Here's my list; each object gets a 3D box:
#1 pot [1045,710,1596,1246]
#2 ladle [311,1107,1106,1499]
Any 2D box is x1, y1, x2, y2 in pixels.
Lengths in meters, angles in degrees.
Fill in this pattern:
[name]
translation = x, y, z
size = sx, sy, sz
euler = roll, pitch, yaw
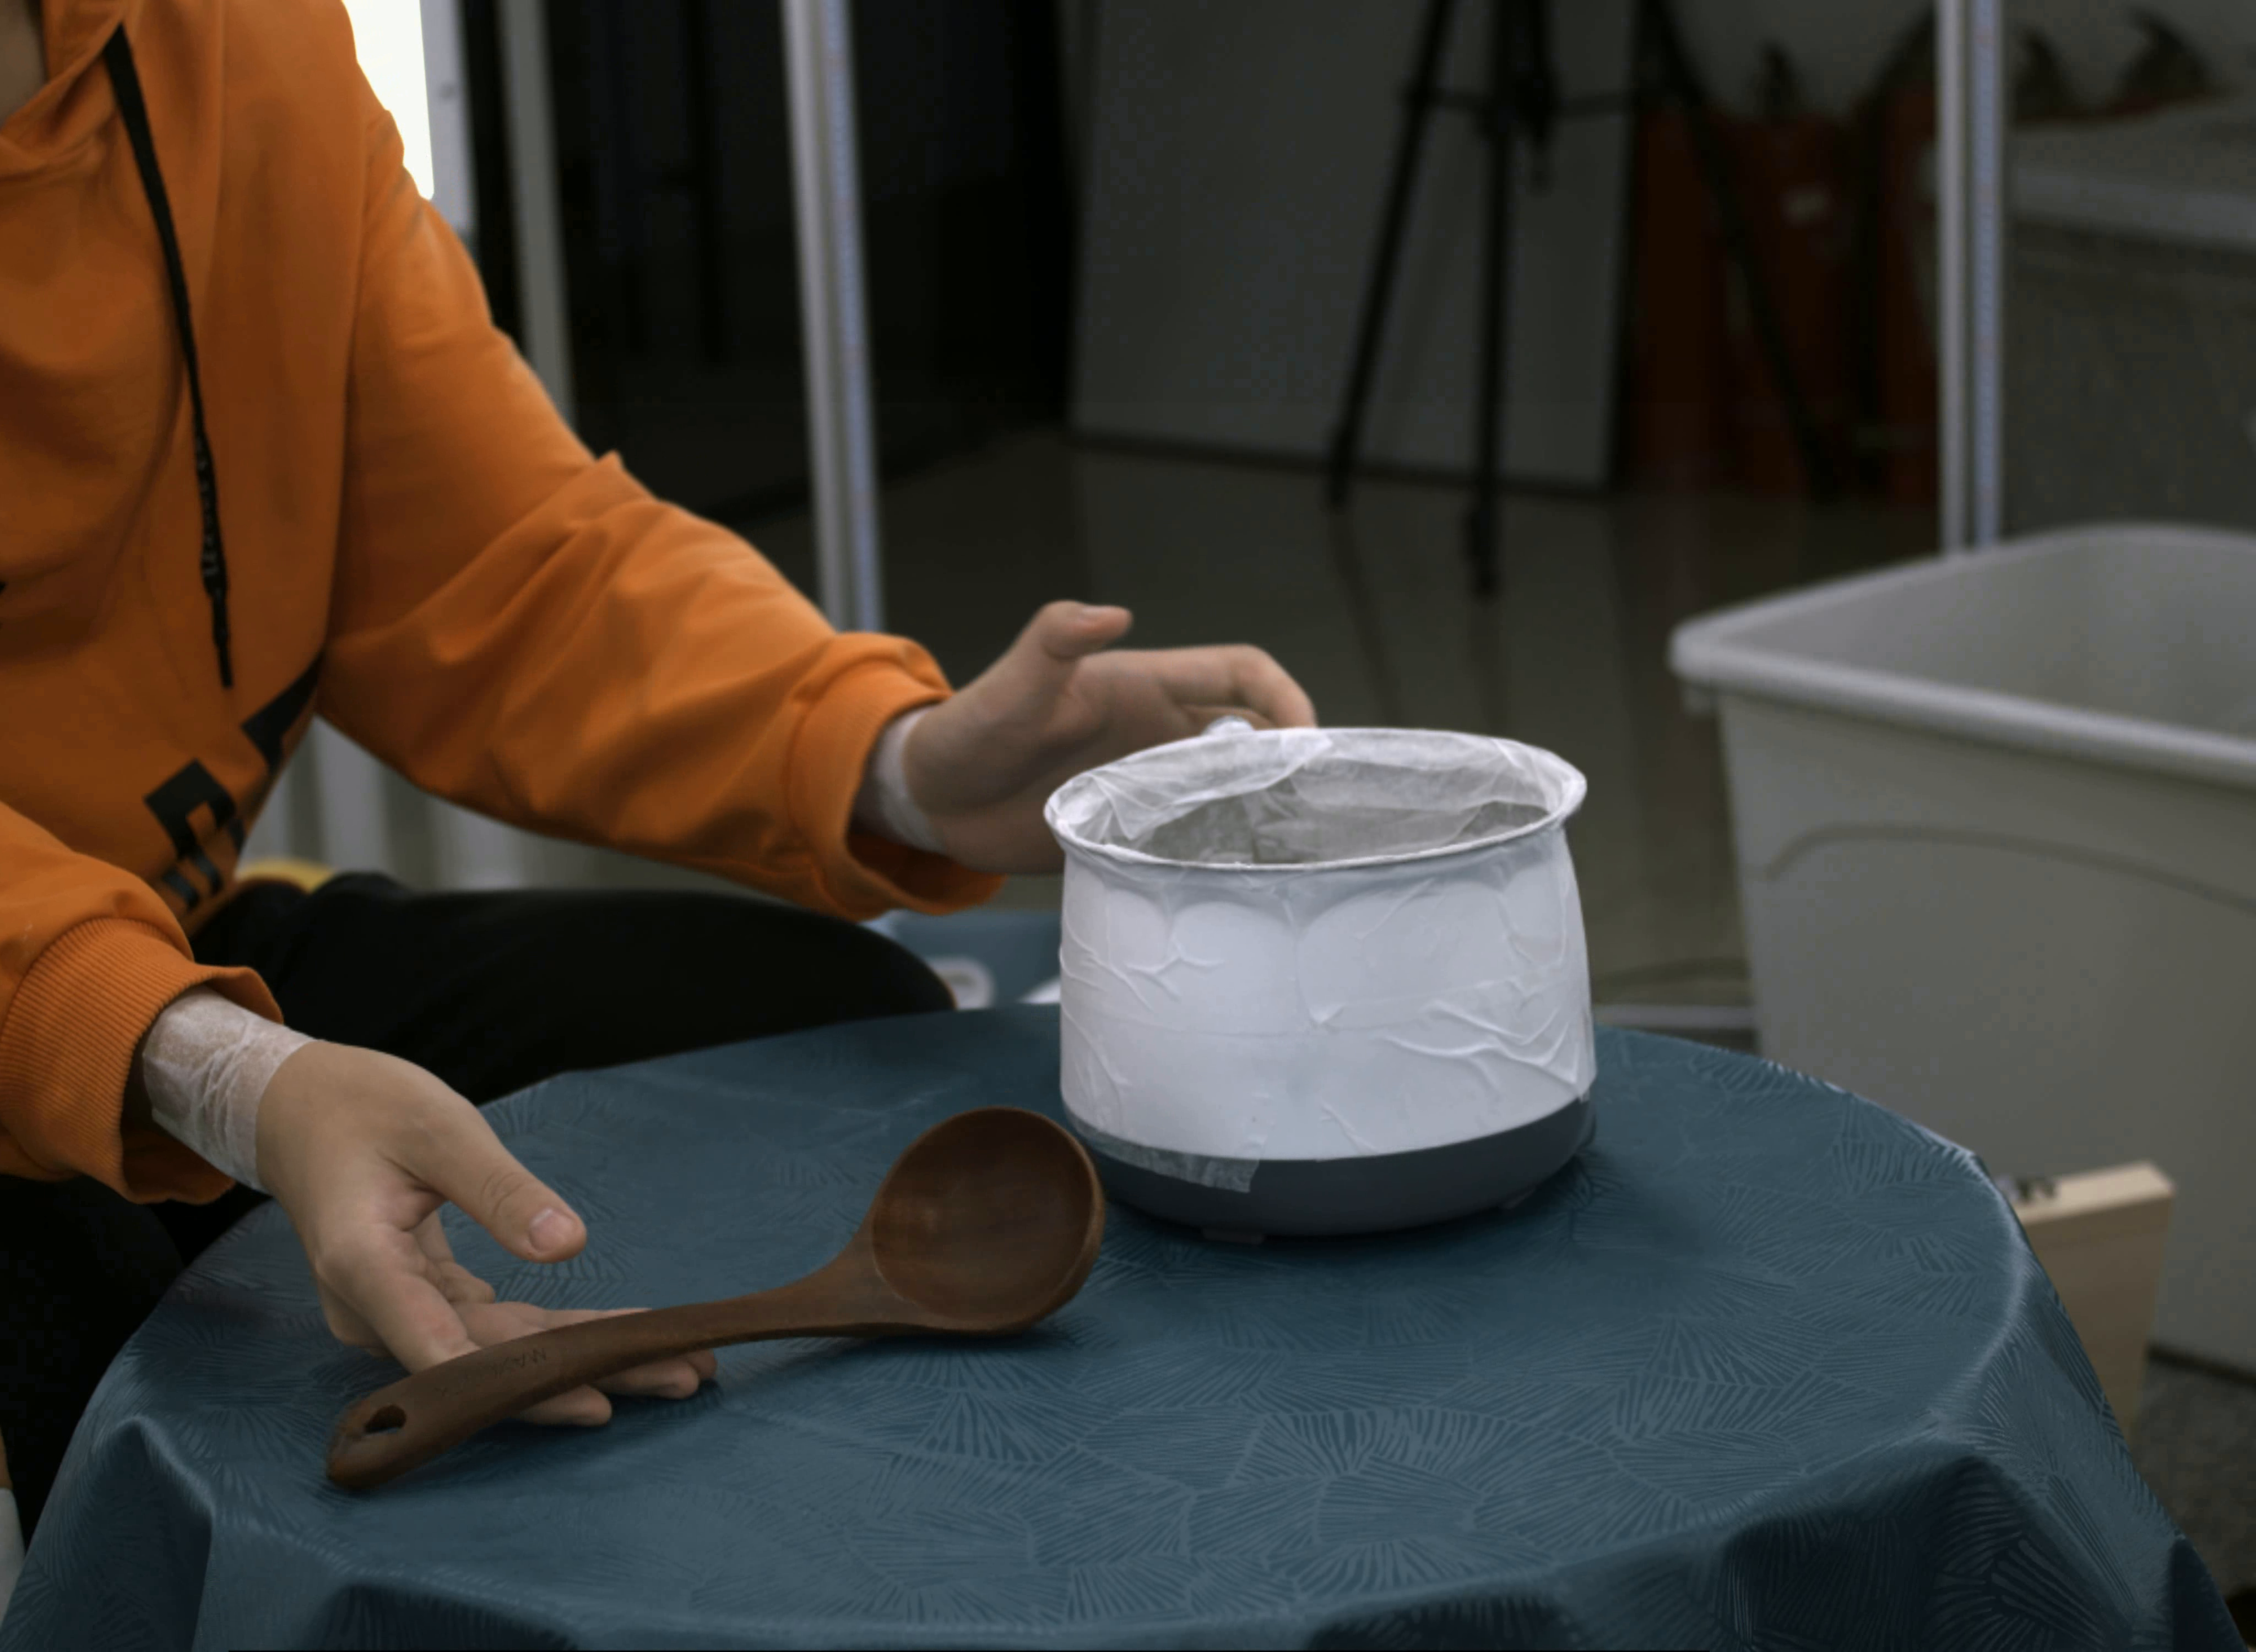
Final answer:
[pot]
translation = 0.056, 0.044, 1.778
size = 0.175, 0.138, 0.235
euler = -7, 14, -15
[ladle]
translation = -0.121, 0.141, 1.598
size = 0.254, 0.066, 0.077
euler = -12, 44, -32
